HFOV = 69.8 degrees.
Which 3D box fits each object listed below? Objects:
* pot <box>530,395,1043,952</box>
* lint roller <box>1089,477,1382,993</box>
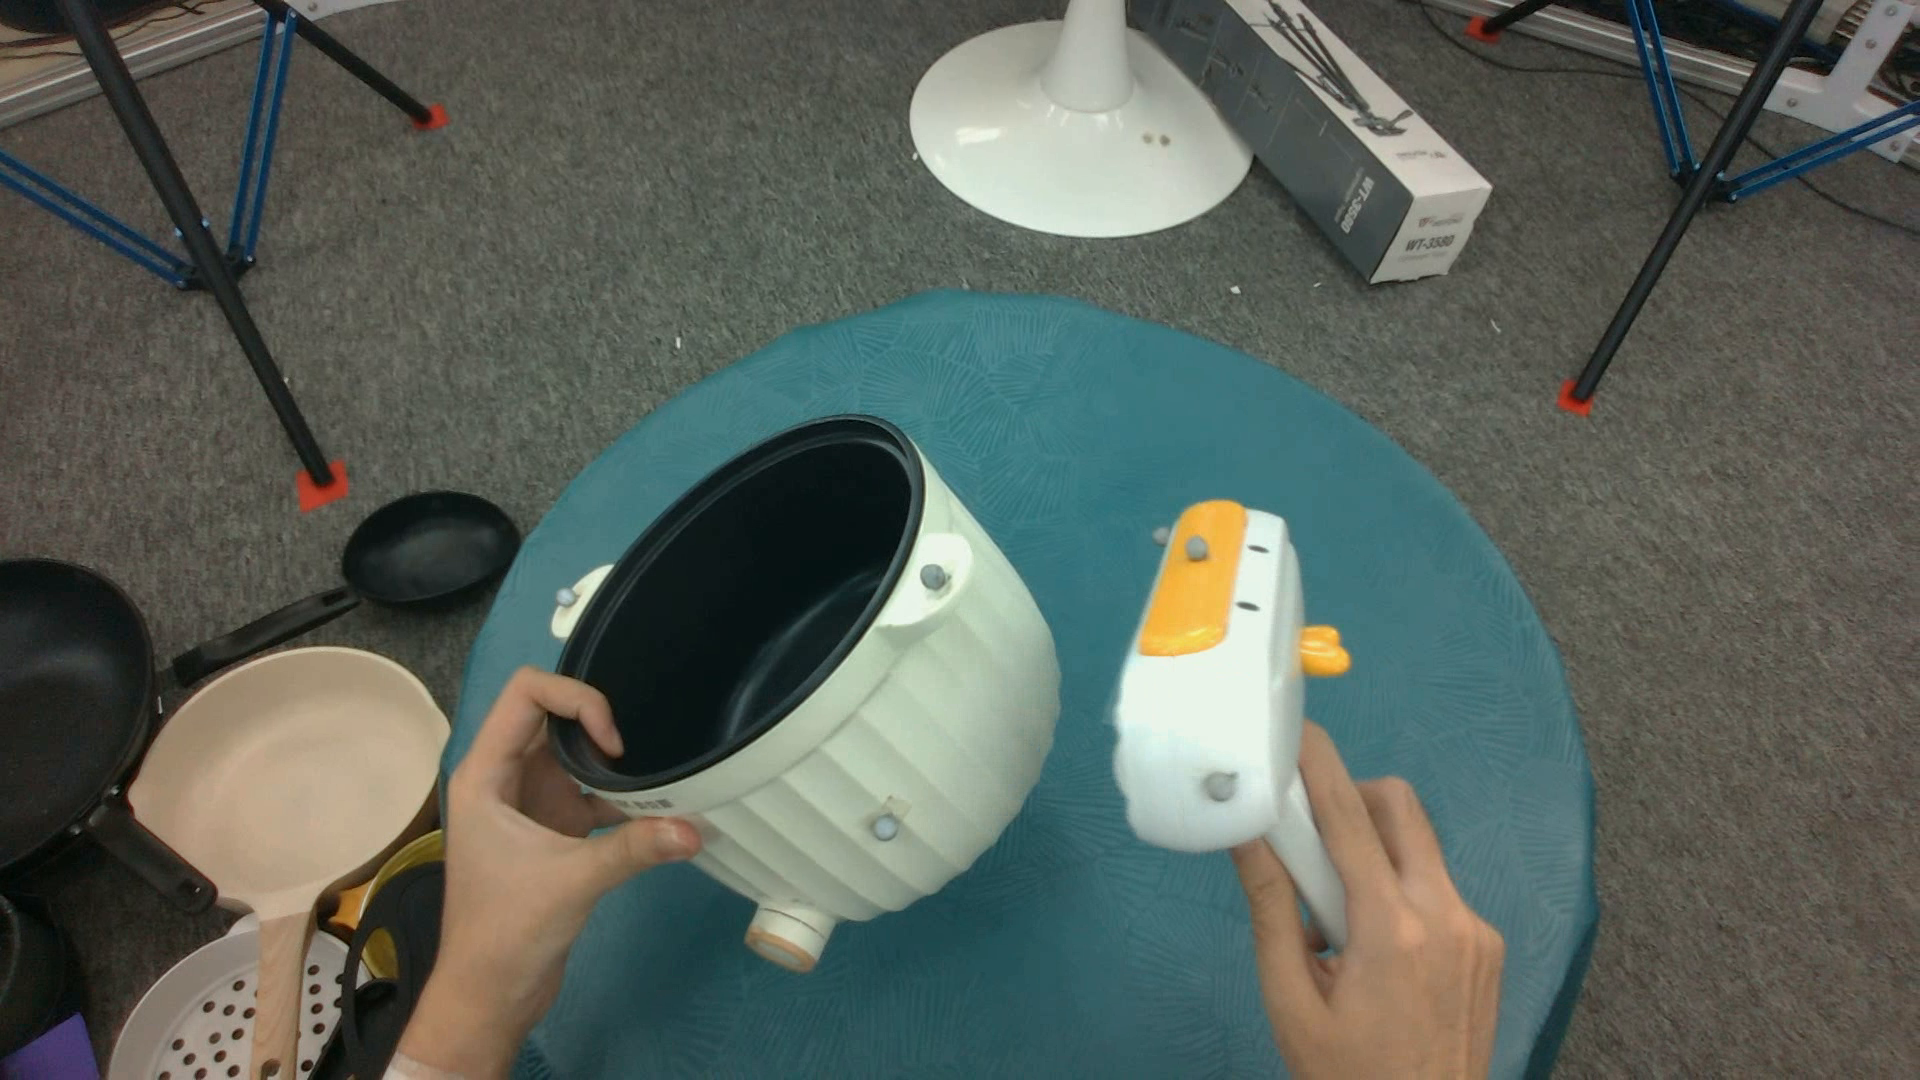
[{"bbox_3d":[-0.062,0.056,0.566,0.239,0.142,0.191,-6,45,40],"label":"pot"},{"bbox_3d":[0.106,0.087,0.505,0.074,0.192,0.193,-14,19,15],"label":"lint roller"}]
